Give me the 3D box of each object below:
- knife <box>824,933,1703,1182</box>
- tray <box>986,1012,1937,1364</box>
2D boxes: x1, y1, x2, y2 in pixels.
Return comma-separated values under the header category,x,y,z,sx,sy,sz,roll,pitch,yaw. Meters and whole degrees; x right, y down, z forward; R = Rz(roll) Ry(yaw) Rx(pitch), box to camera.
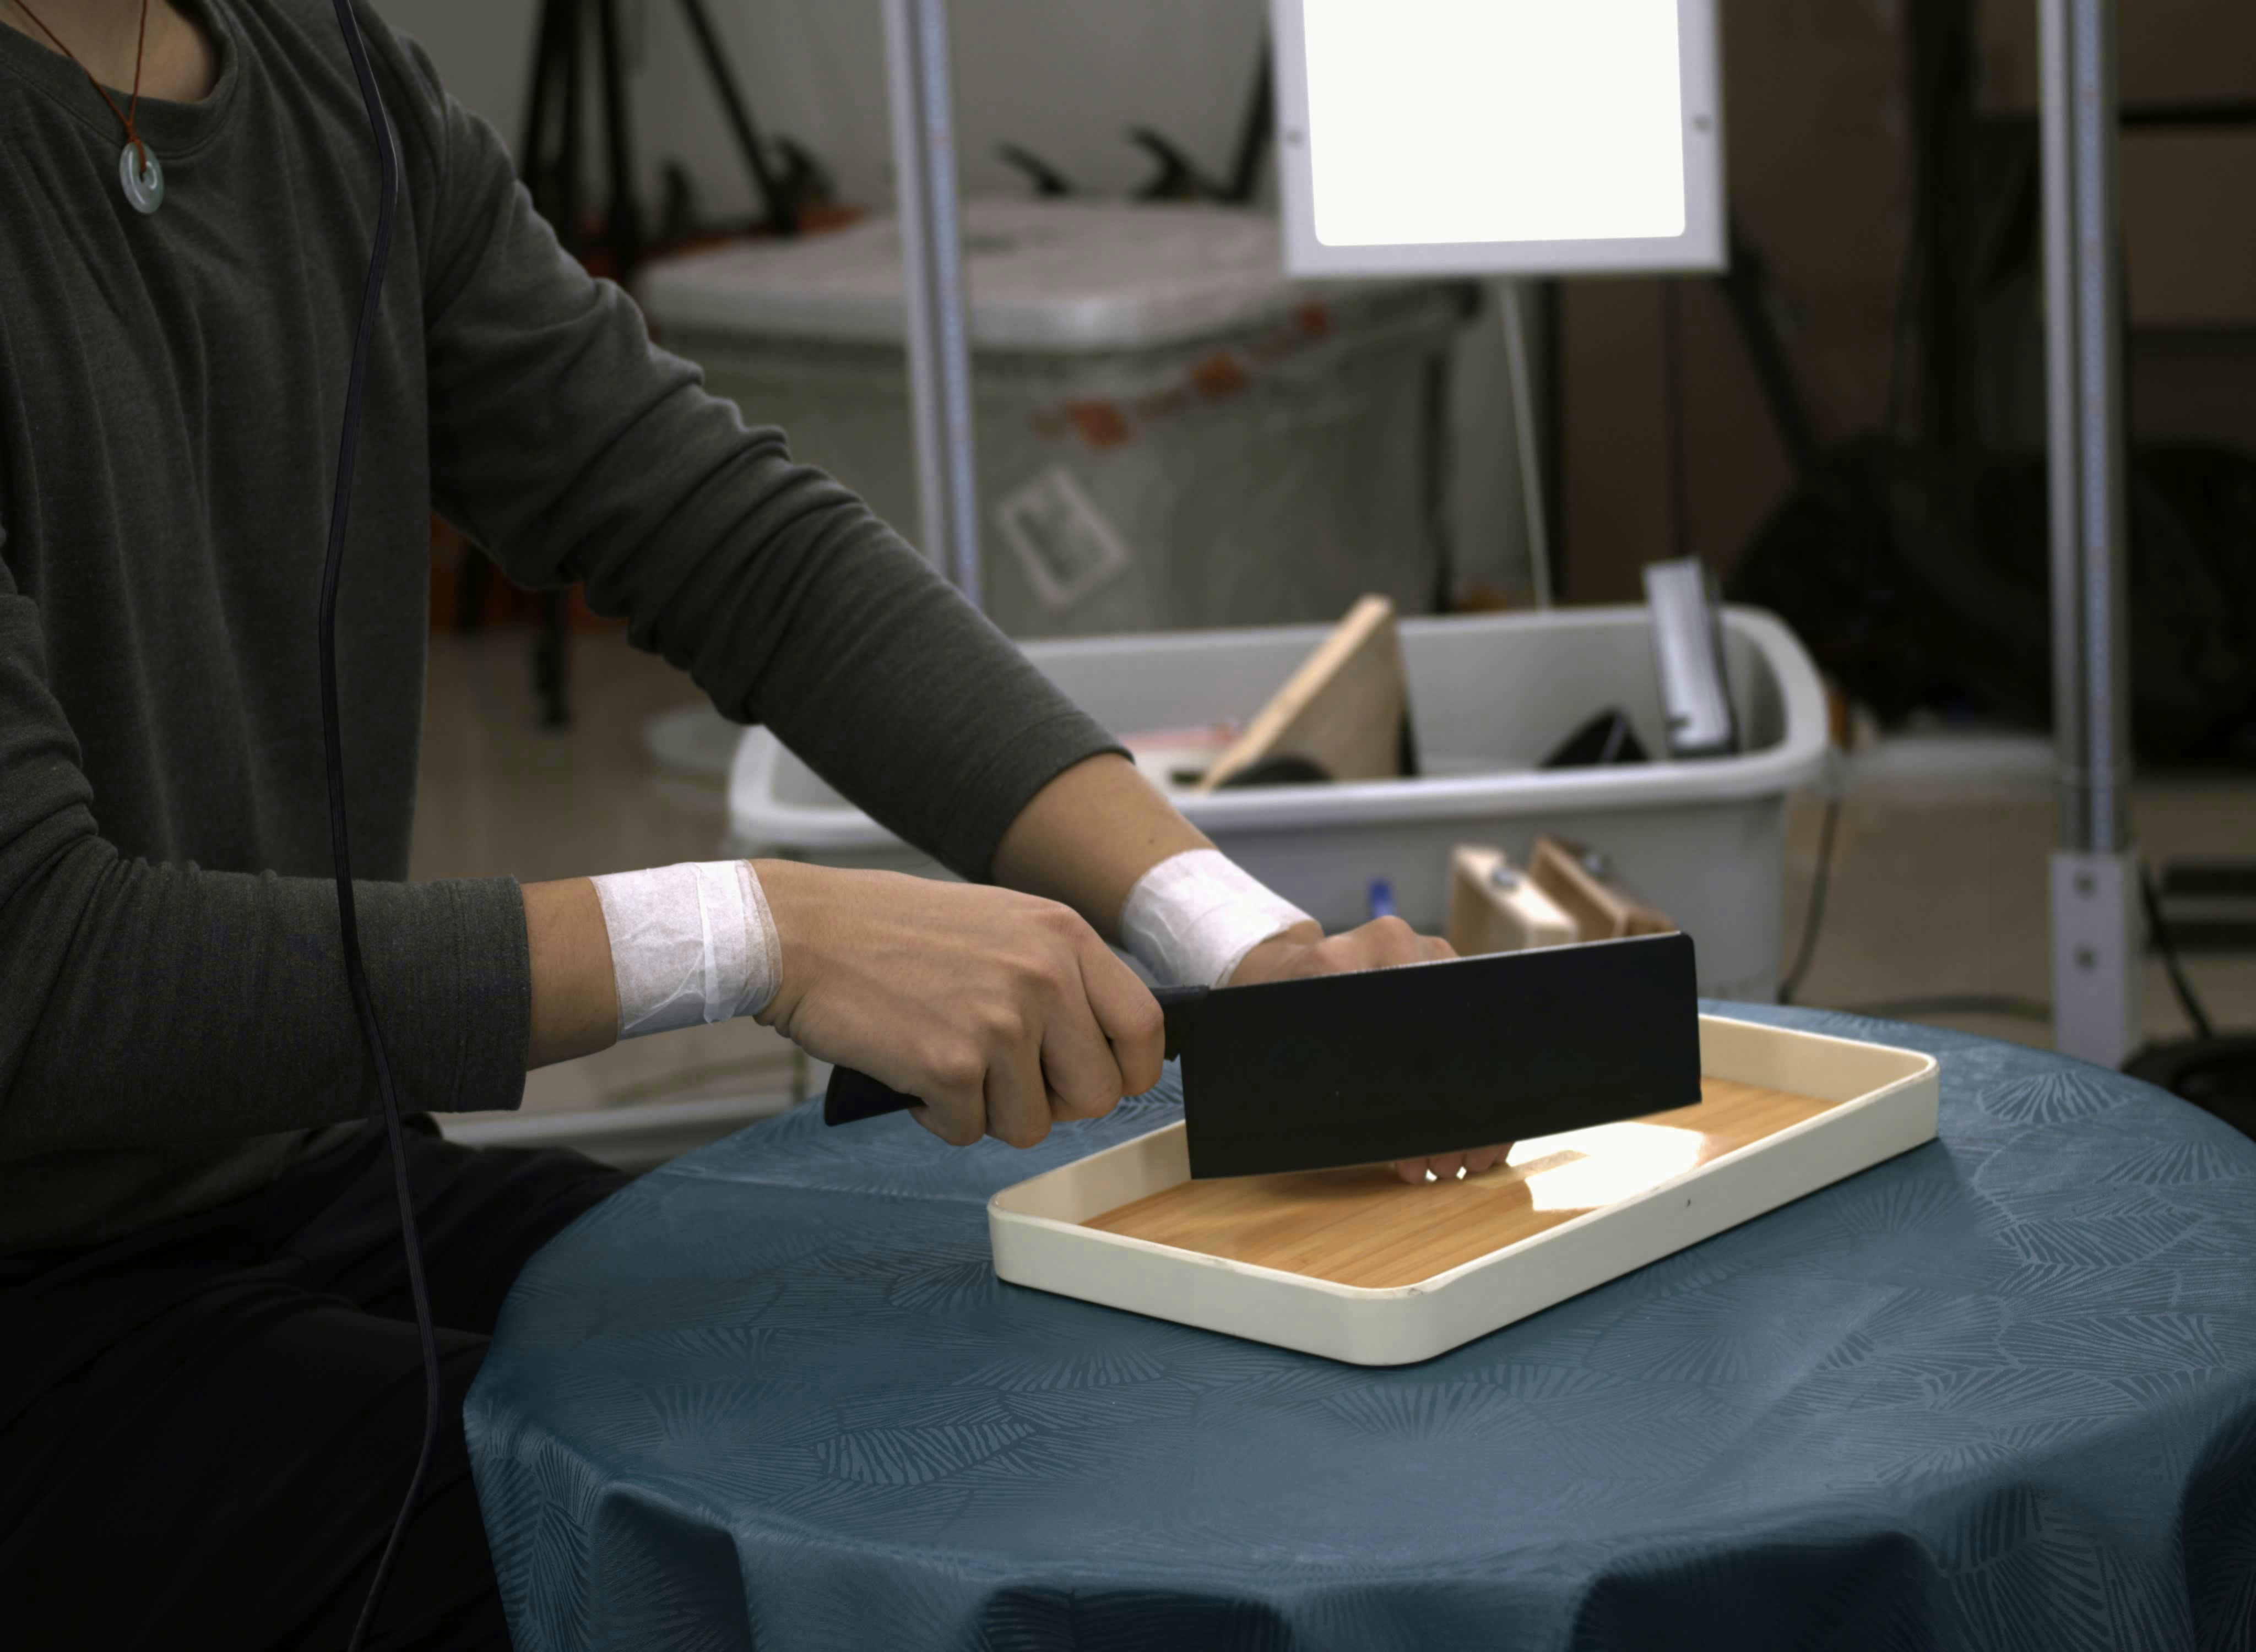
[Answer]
category,x,y,z,sx,sy,sz,roll,pitch,yaw
knife,0.048,0.080,1.836,0.299,0.081,0.021,-2,9,-9
tray,0.117,0.114,1.854,0.292,0.027,0.196,-18,18,-42
